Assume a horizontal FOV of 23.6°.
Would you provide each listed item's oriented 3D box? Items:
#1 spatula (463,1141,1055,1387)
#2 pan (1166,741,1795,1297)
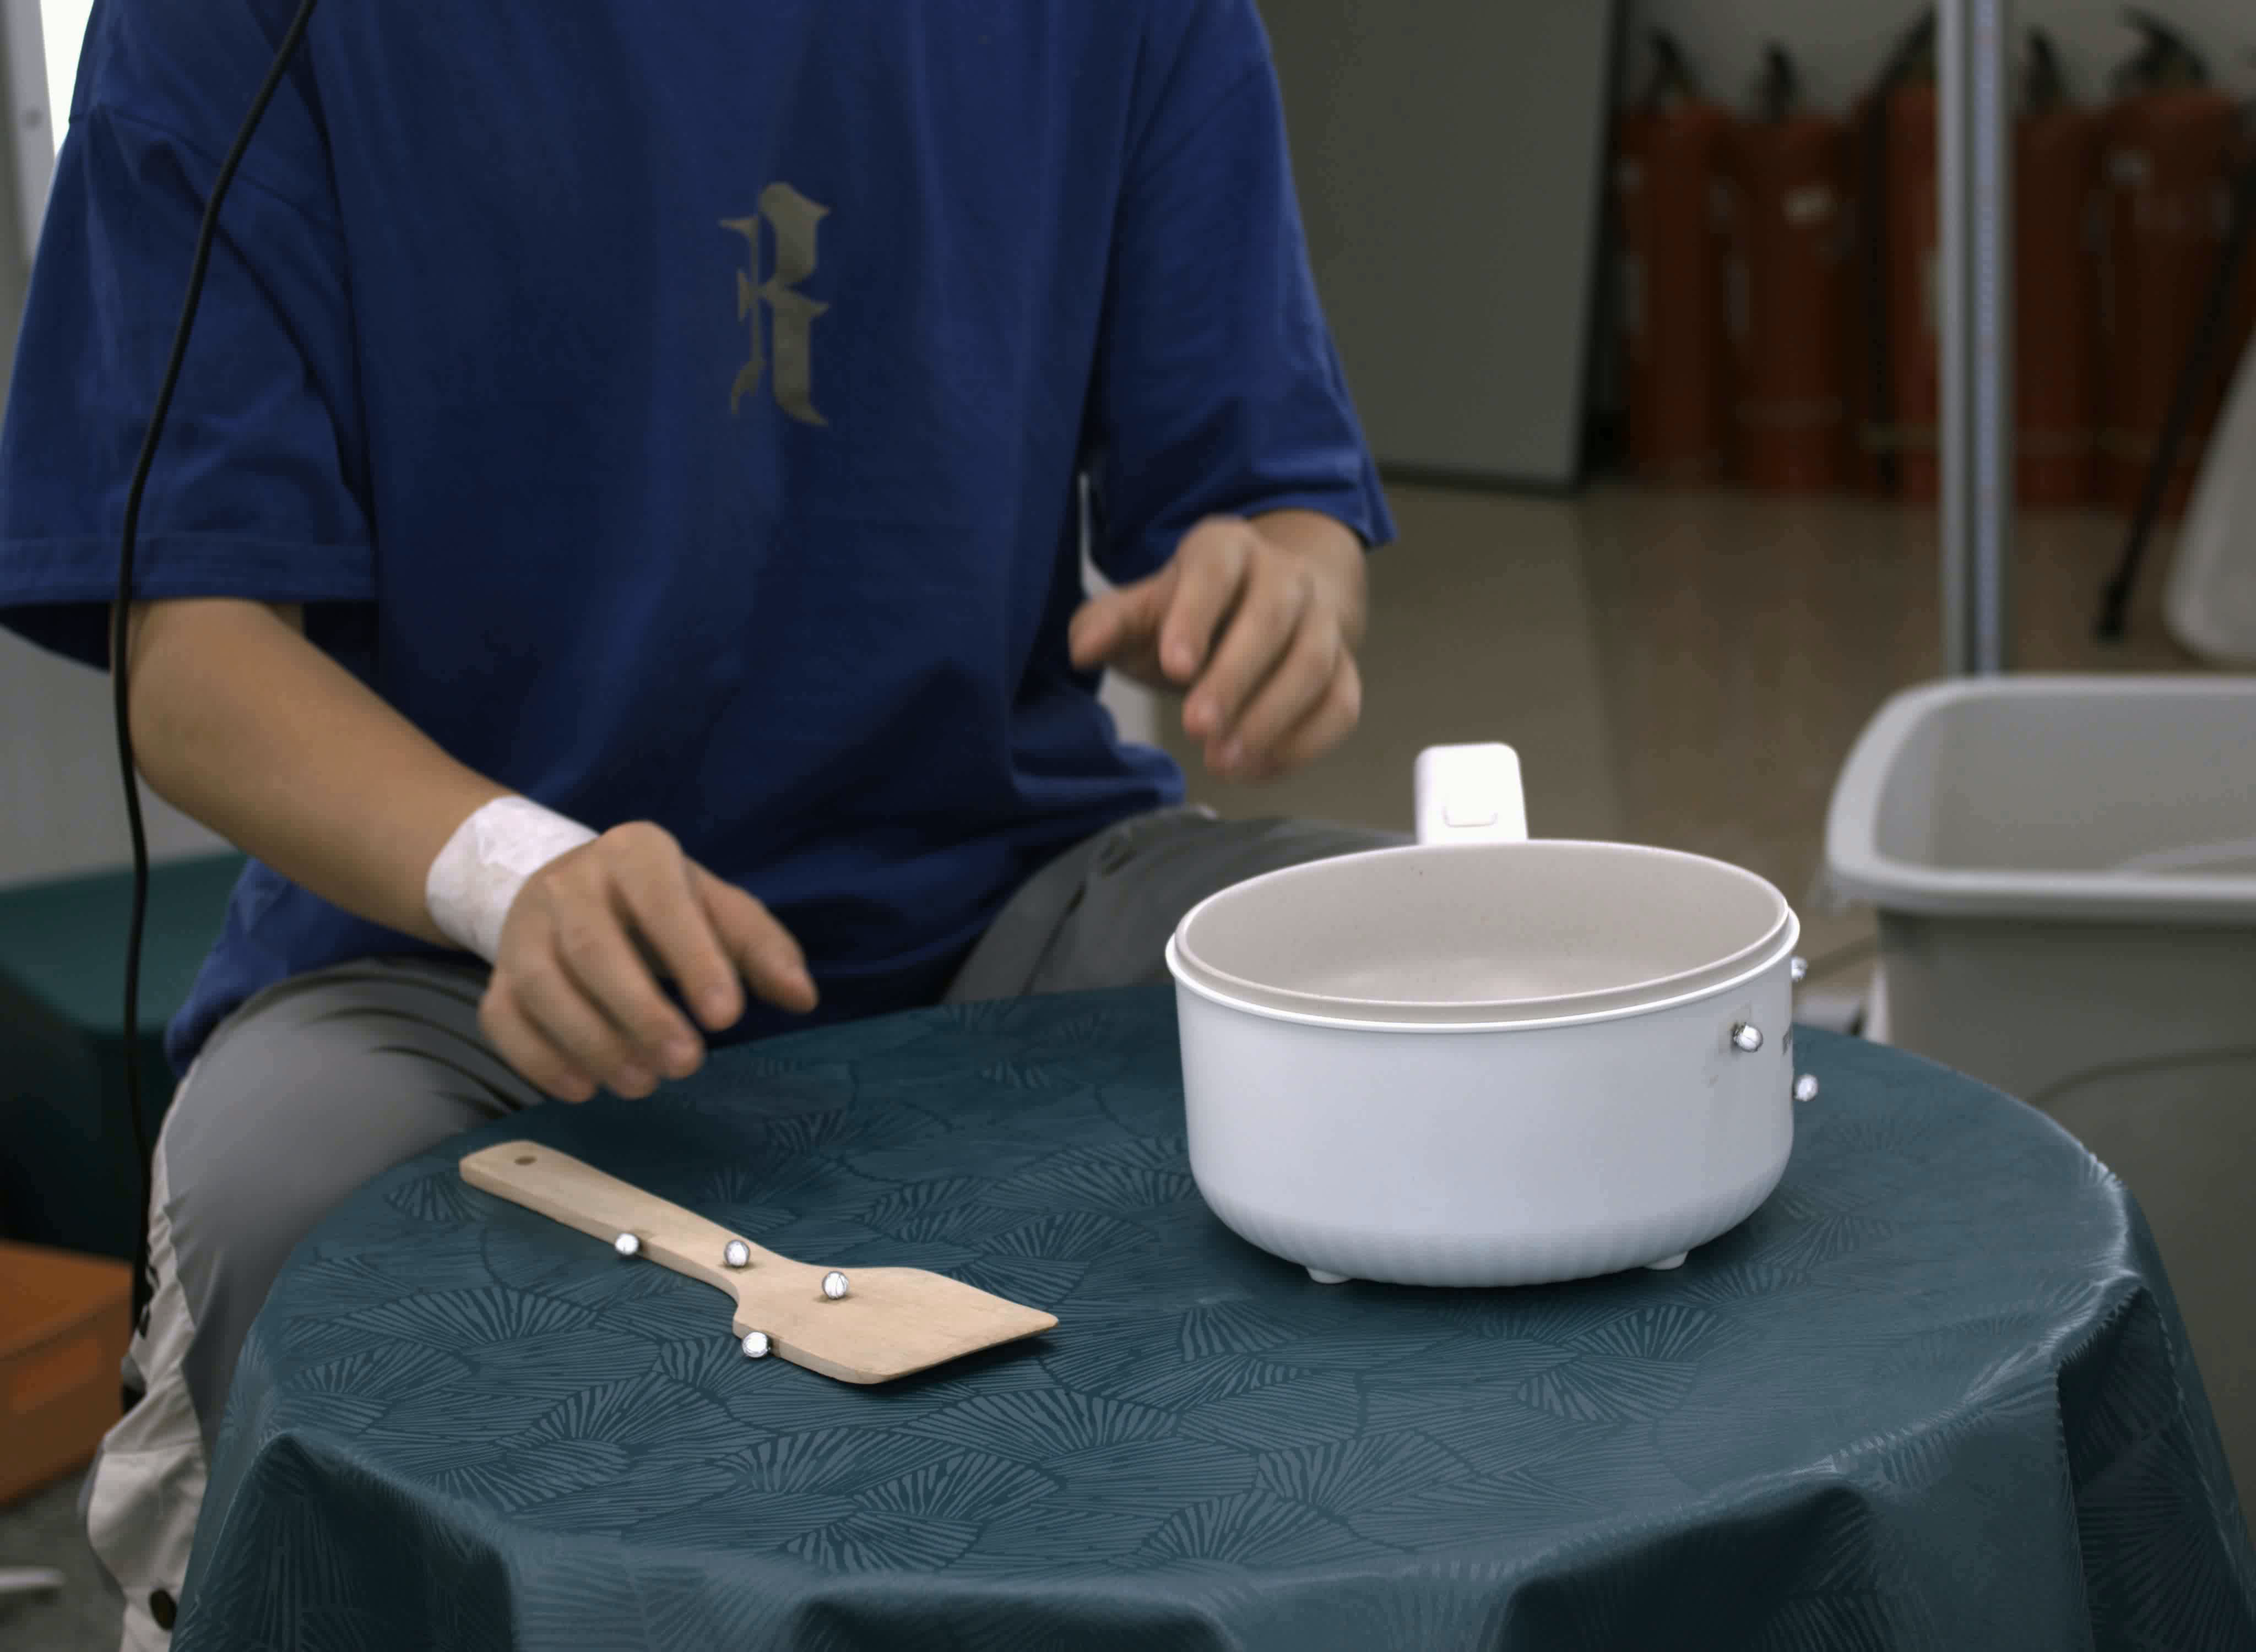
[{"bbox_3d":[-0.133,0.137,1.727,0.071,0.011,0.296,-15,18,-33],"label":"spatula"},{"bbox_3d":[0.117,0.060,1.782,0.199,0.103,0.355,-5,14,4],"label":"pan"}]
